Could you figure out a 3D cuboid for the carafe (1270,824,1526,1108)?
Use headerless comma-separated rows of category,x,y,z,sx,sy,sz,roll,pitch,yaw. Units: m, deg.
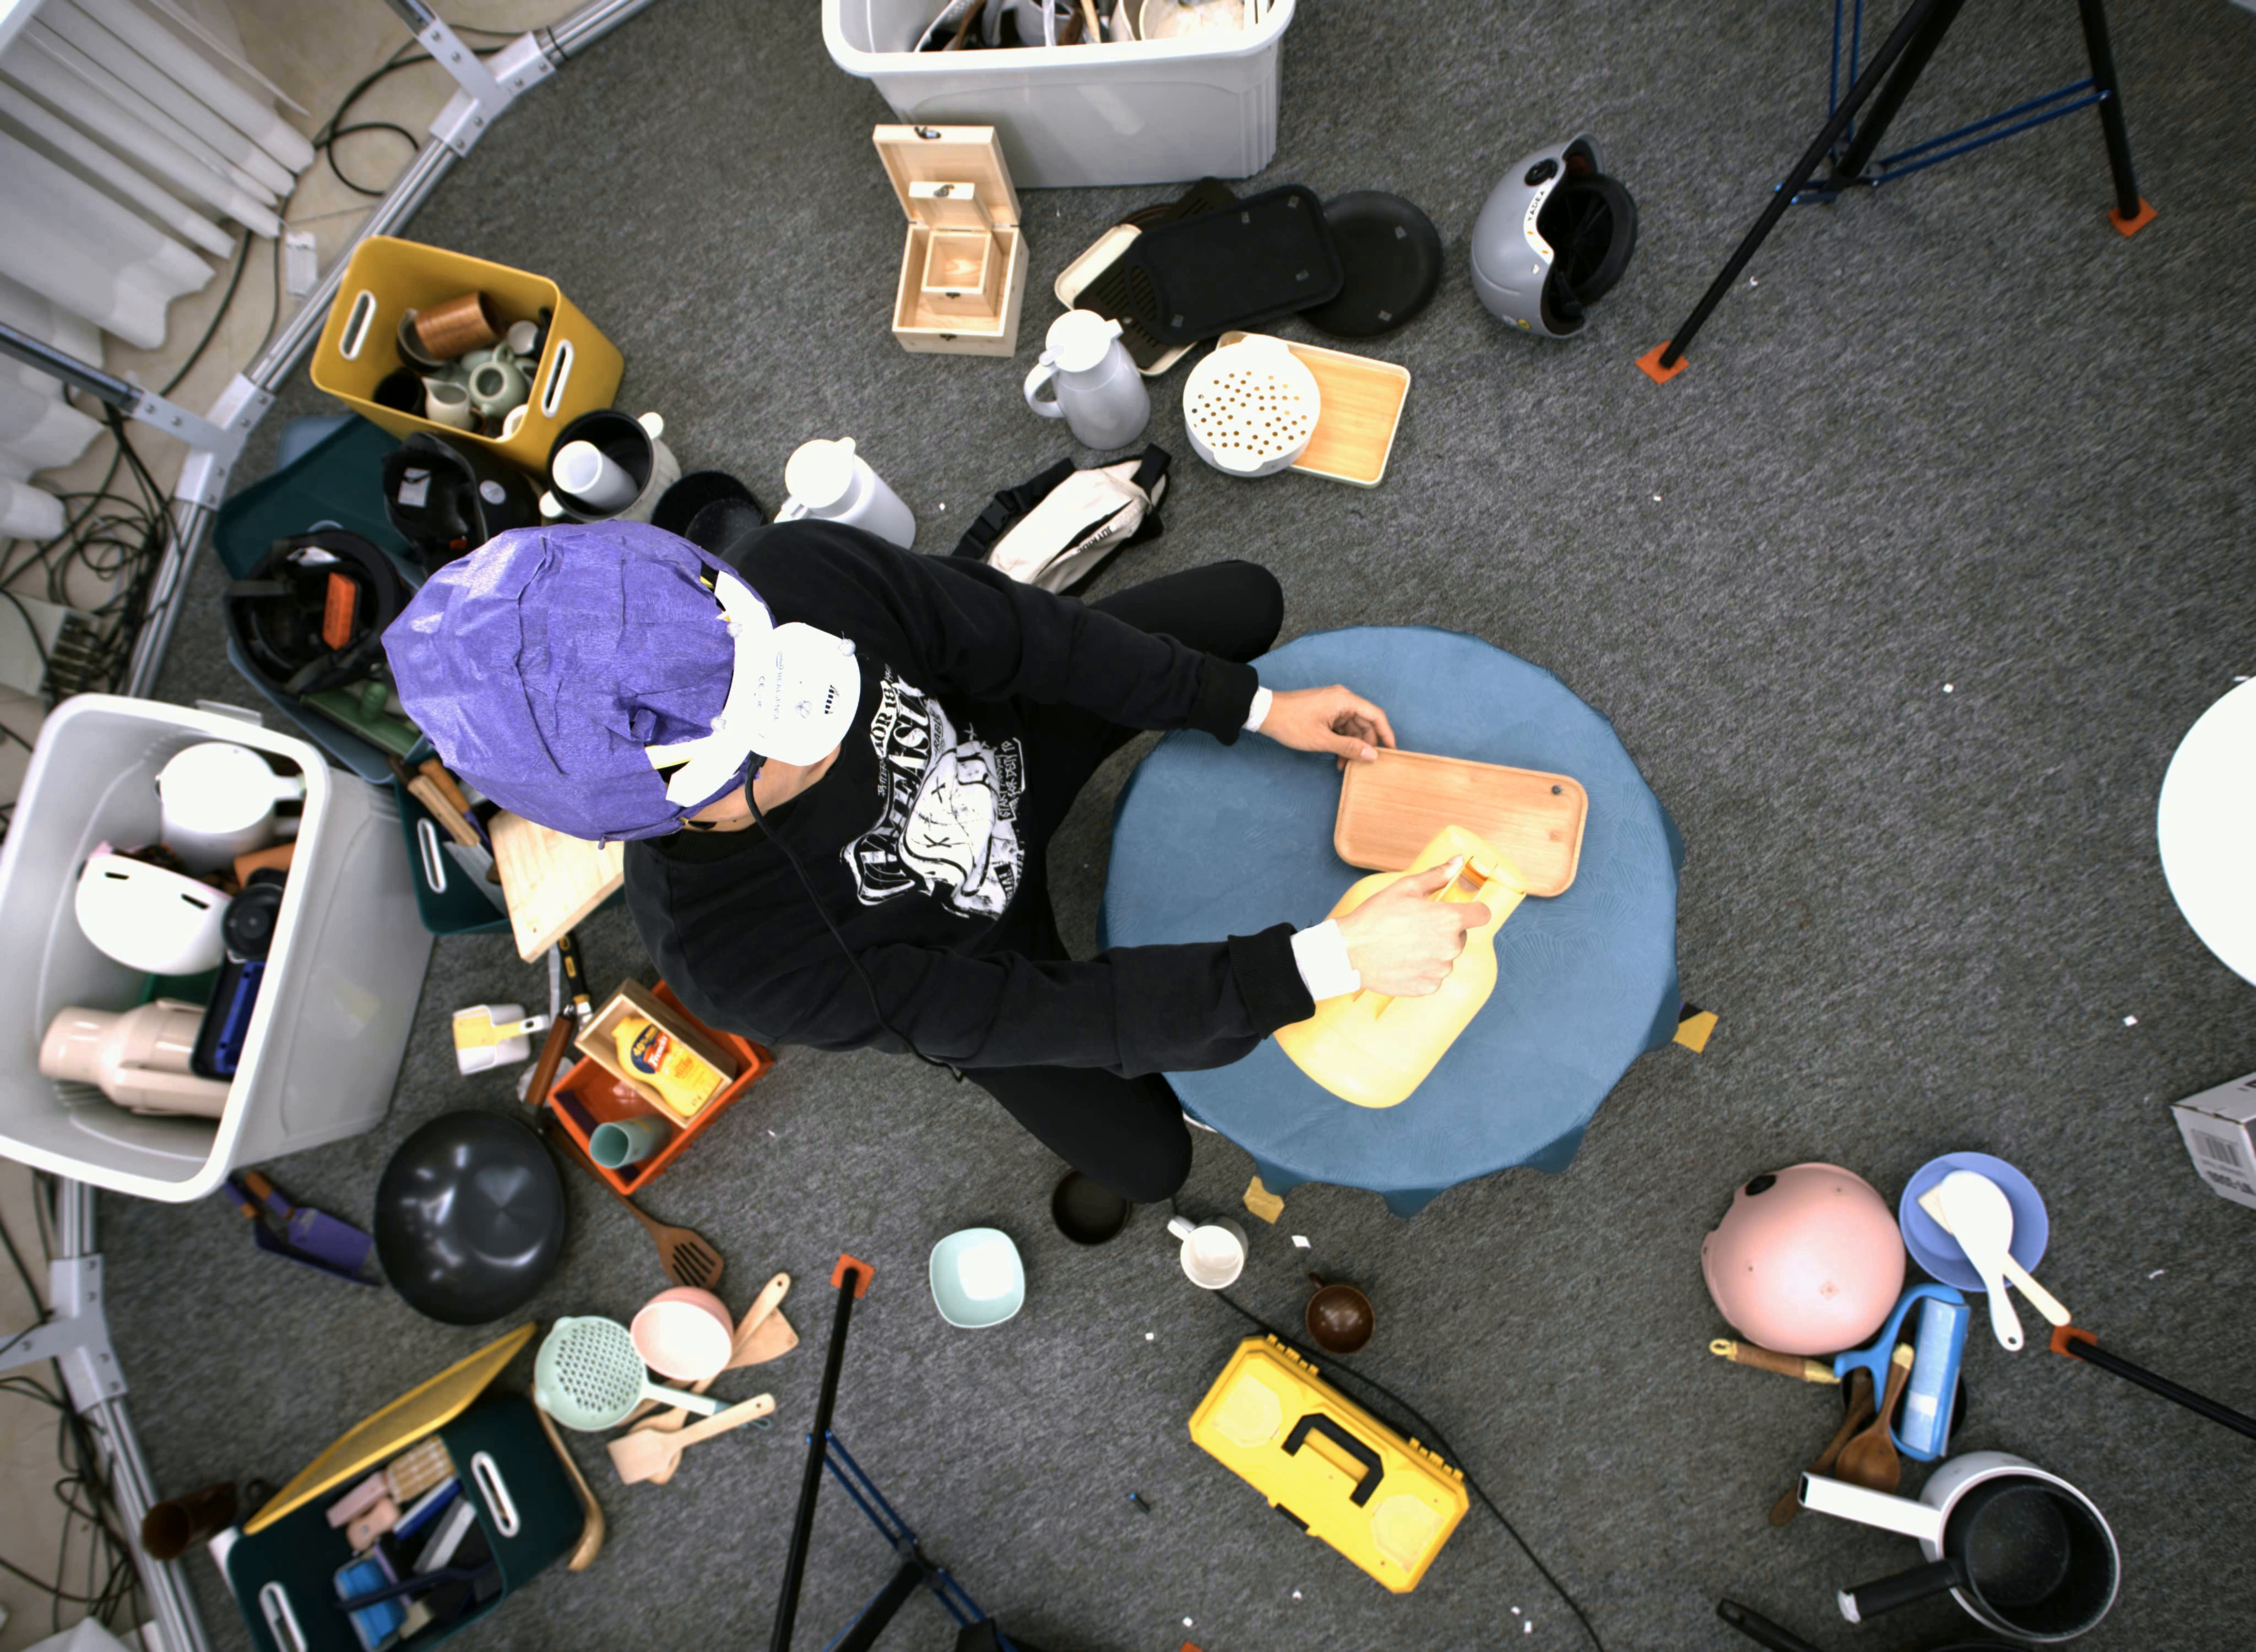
carafe,0.249,0.122,1.256,0.163,0.200,0.264,37,107,14

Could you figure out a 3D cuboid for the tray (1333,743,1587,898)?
tray,0.342,-0.008,1.425,0.251,0.023,0.131,10,96,7
